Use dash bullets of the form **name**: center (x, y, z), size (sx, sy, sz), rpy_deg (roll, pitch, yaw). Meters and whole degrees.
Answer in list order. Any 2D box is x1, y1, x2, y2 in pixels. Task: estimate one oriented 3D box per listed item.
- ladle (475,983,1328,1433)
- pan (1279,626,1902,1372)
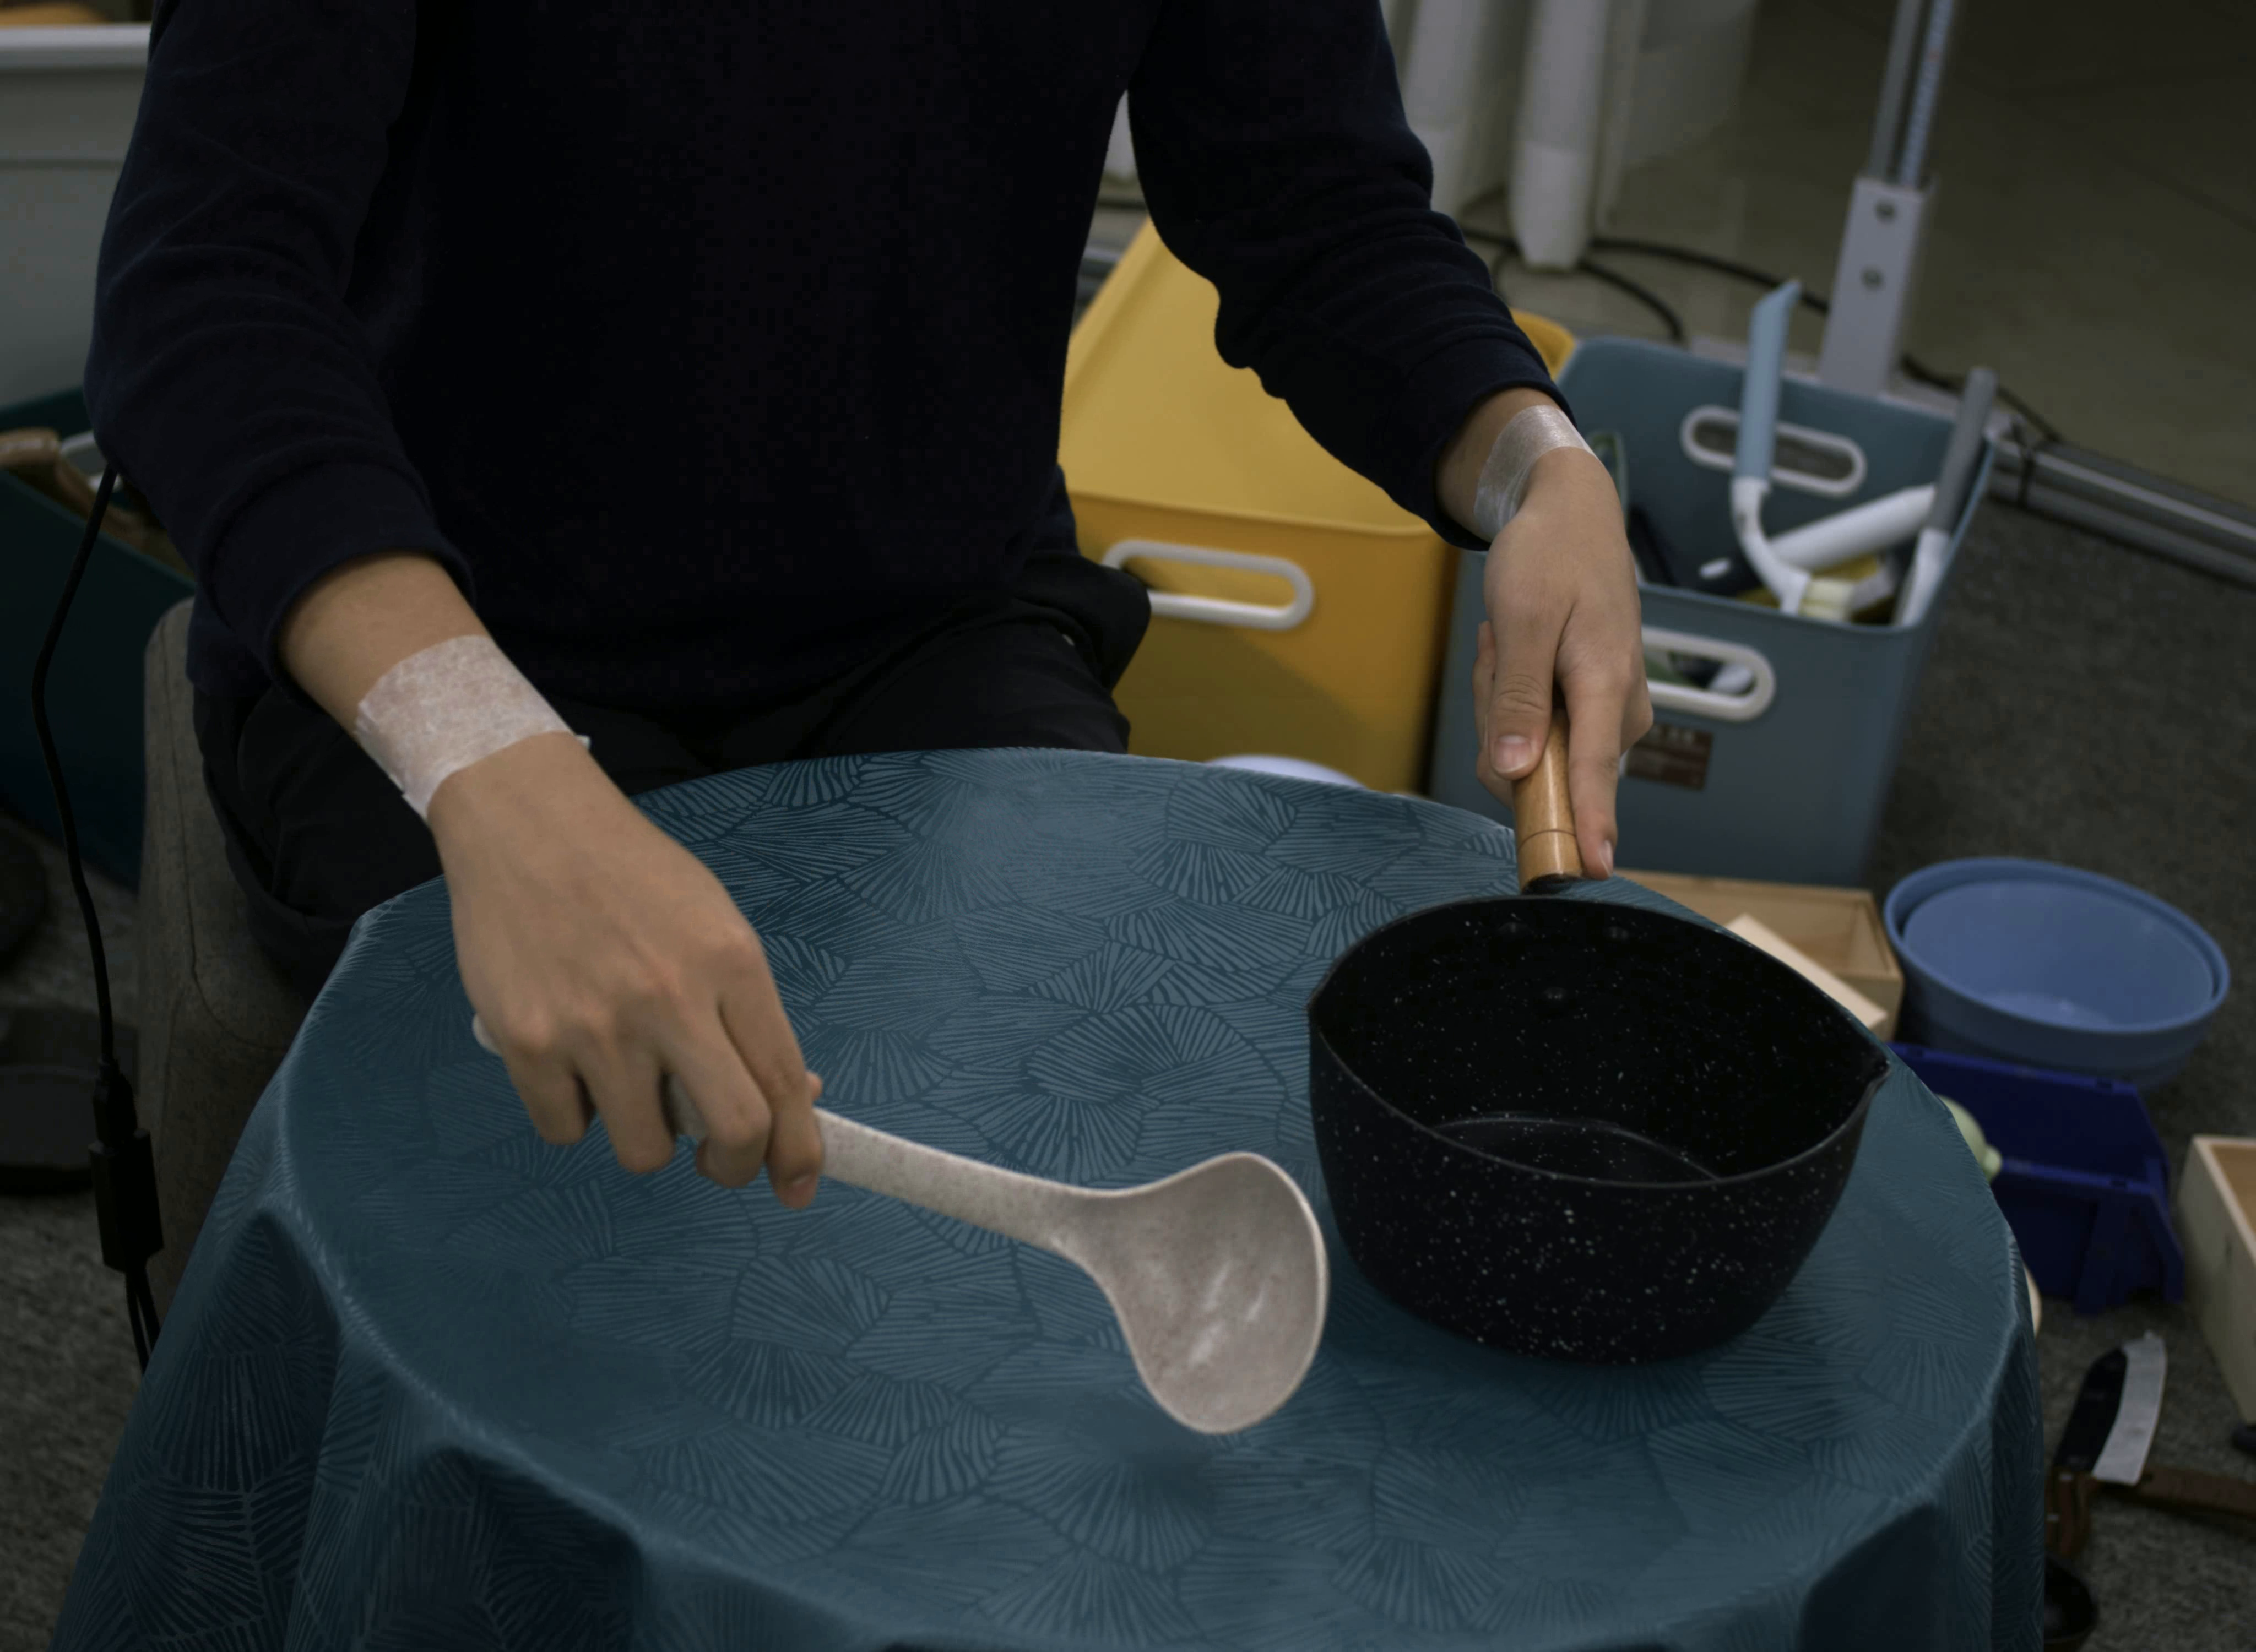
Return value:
- **ladle**: center (-0.071, 0.108, 1.622), size (0.274, 0.089, 0.070), rpy_deg (19, 20, -7)
- **pan**: center (0.148, 0.056, 1.841), size (0.207, 0.108, 0.345), rpy_deg (3, 30, -4)
